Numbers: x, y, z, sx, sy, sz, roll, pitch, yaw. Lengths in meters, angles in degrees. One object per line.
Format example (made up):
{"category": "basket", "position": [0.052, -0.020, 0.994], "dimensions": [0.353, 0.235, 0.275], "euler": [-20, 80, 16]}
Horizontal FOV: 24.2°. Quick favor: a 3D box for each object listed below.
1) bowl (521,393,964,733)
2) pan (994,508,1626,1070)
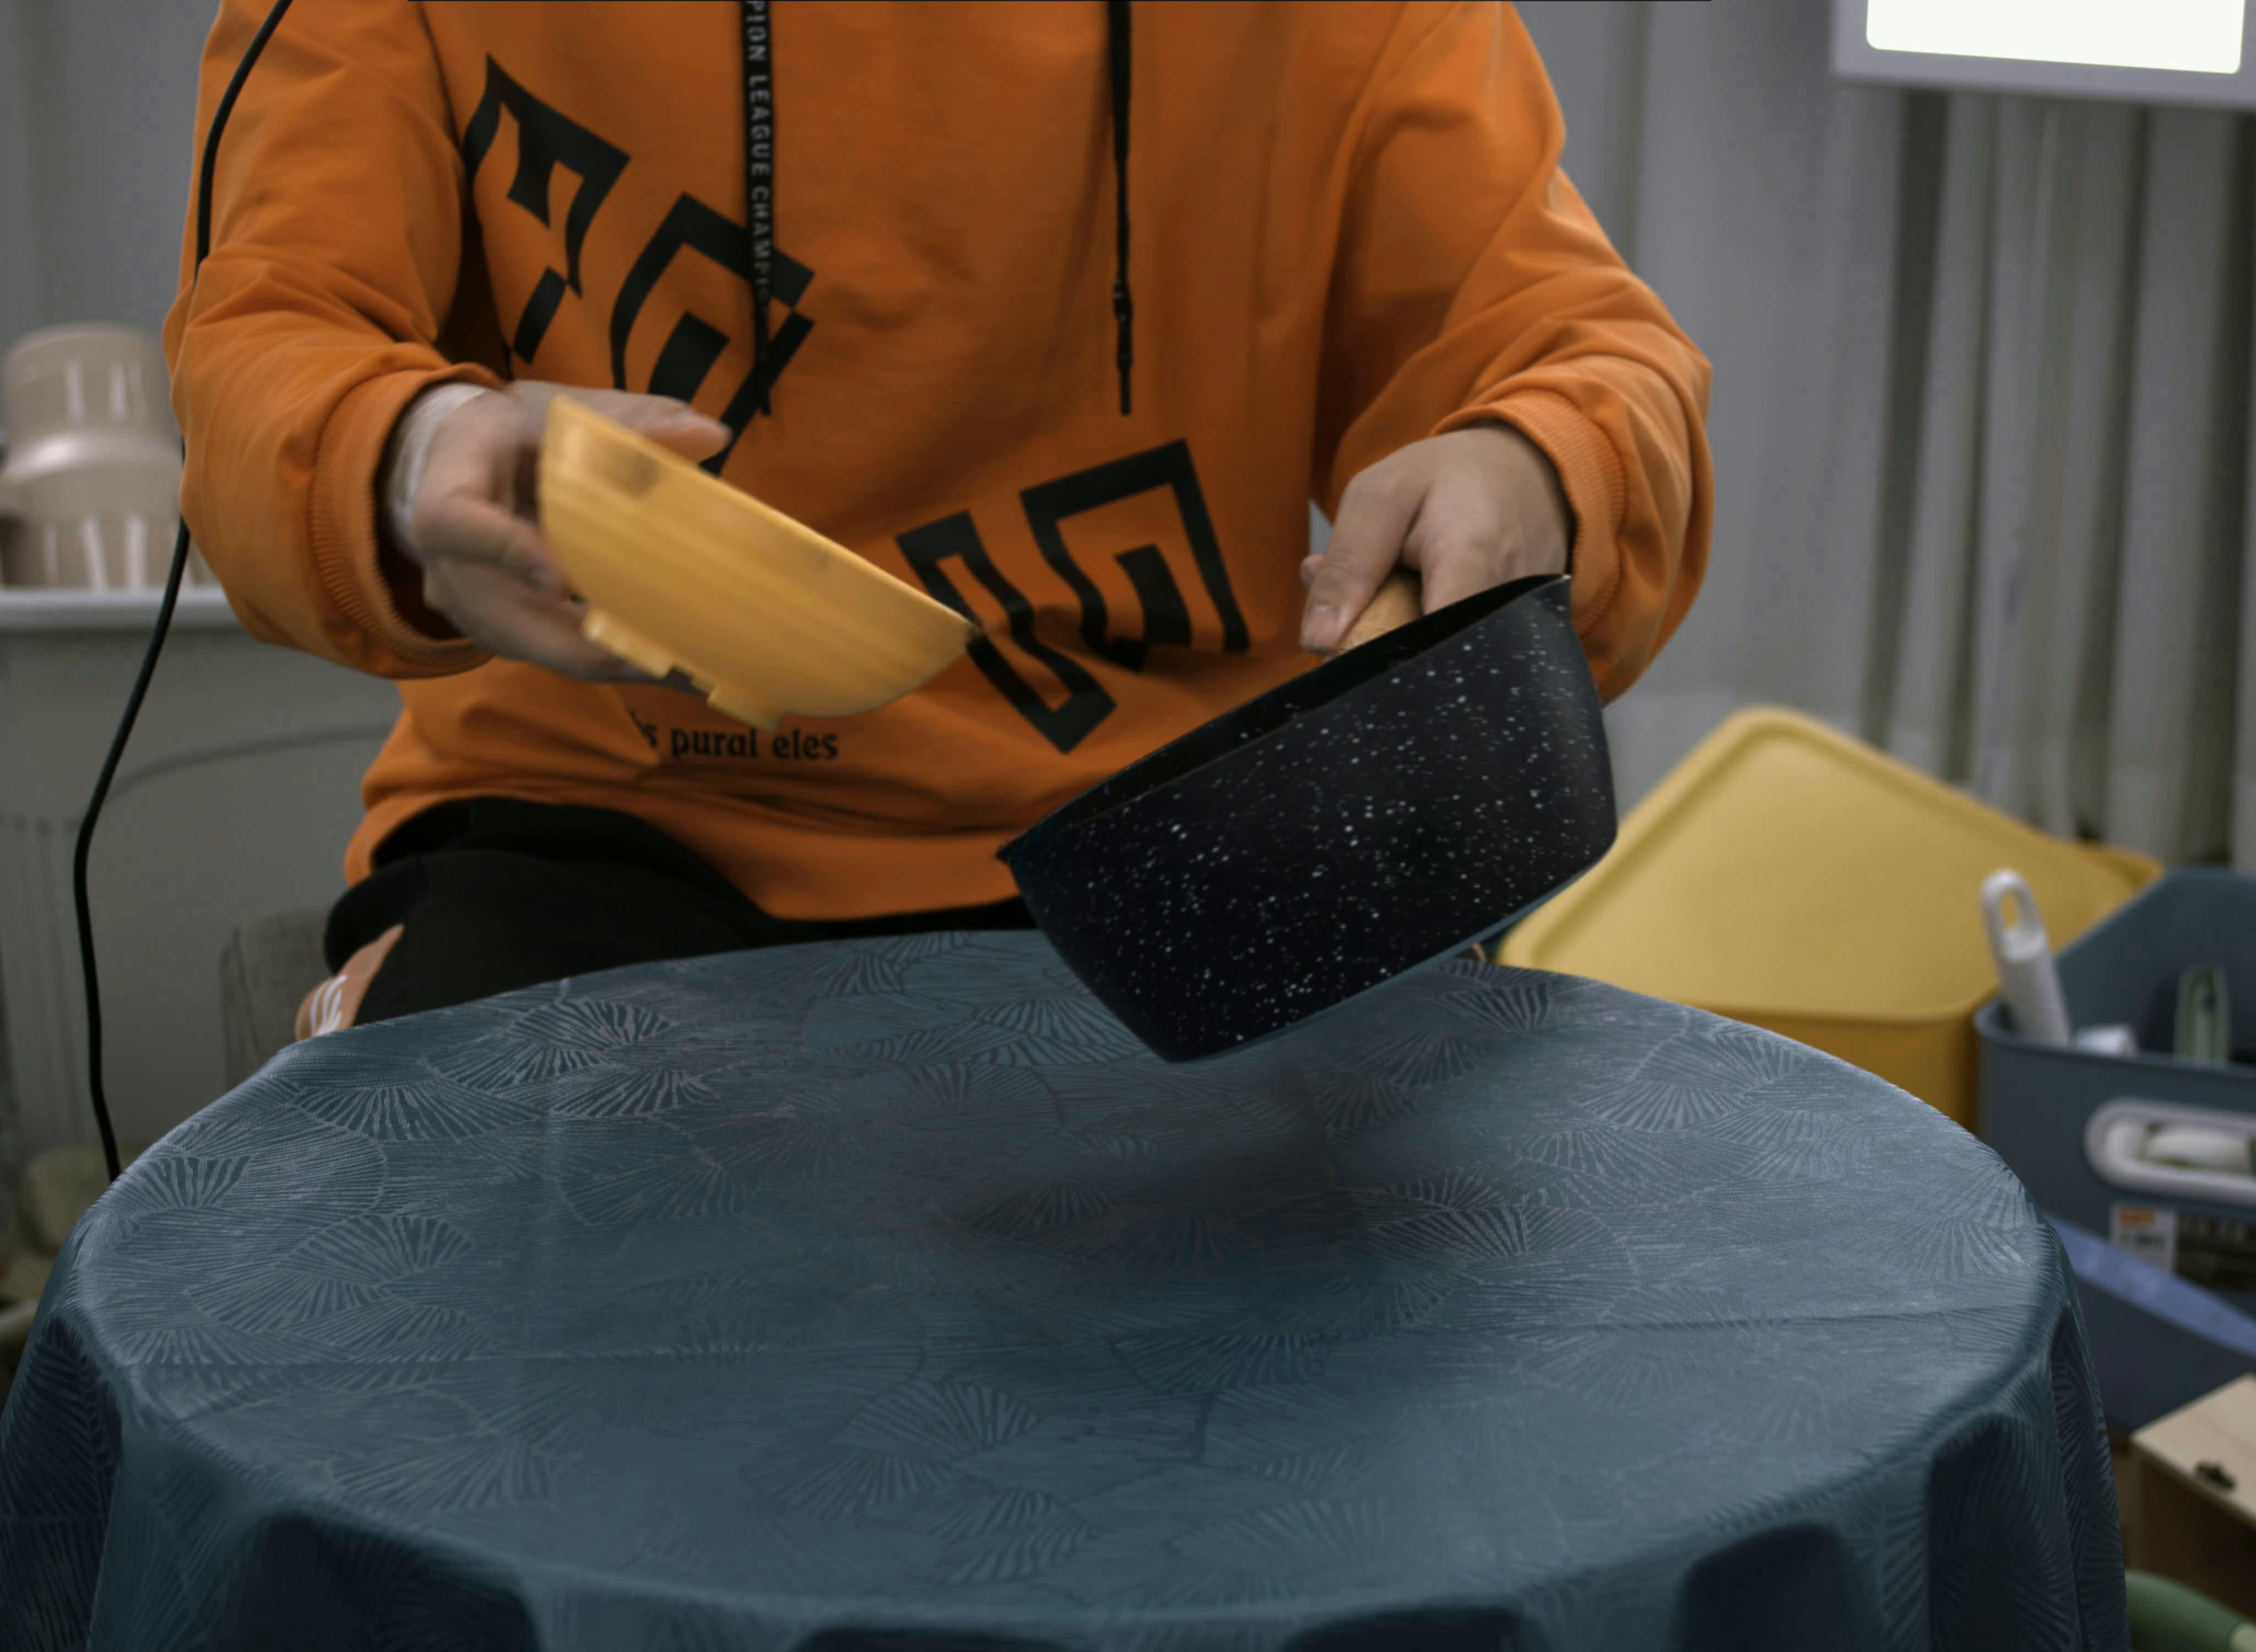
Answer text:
{"category": "bowl", "position": [-0.124, -0.069, 1.560], "dimensions": [0.145, 0.060, 0.145], "euler": [28, 1, 0]}
{"category": "pan", "position": [0.076, -0.024, 1.658], "dimensions": [0.206, 0.108, 0.342], "euler": [-26, 5, 16]}
